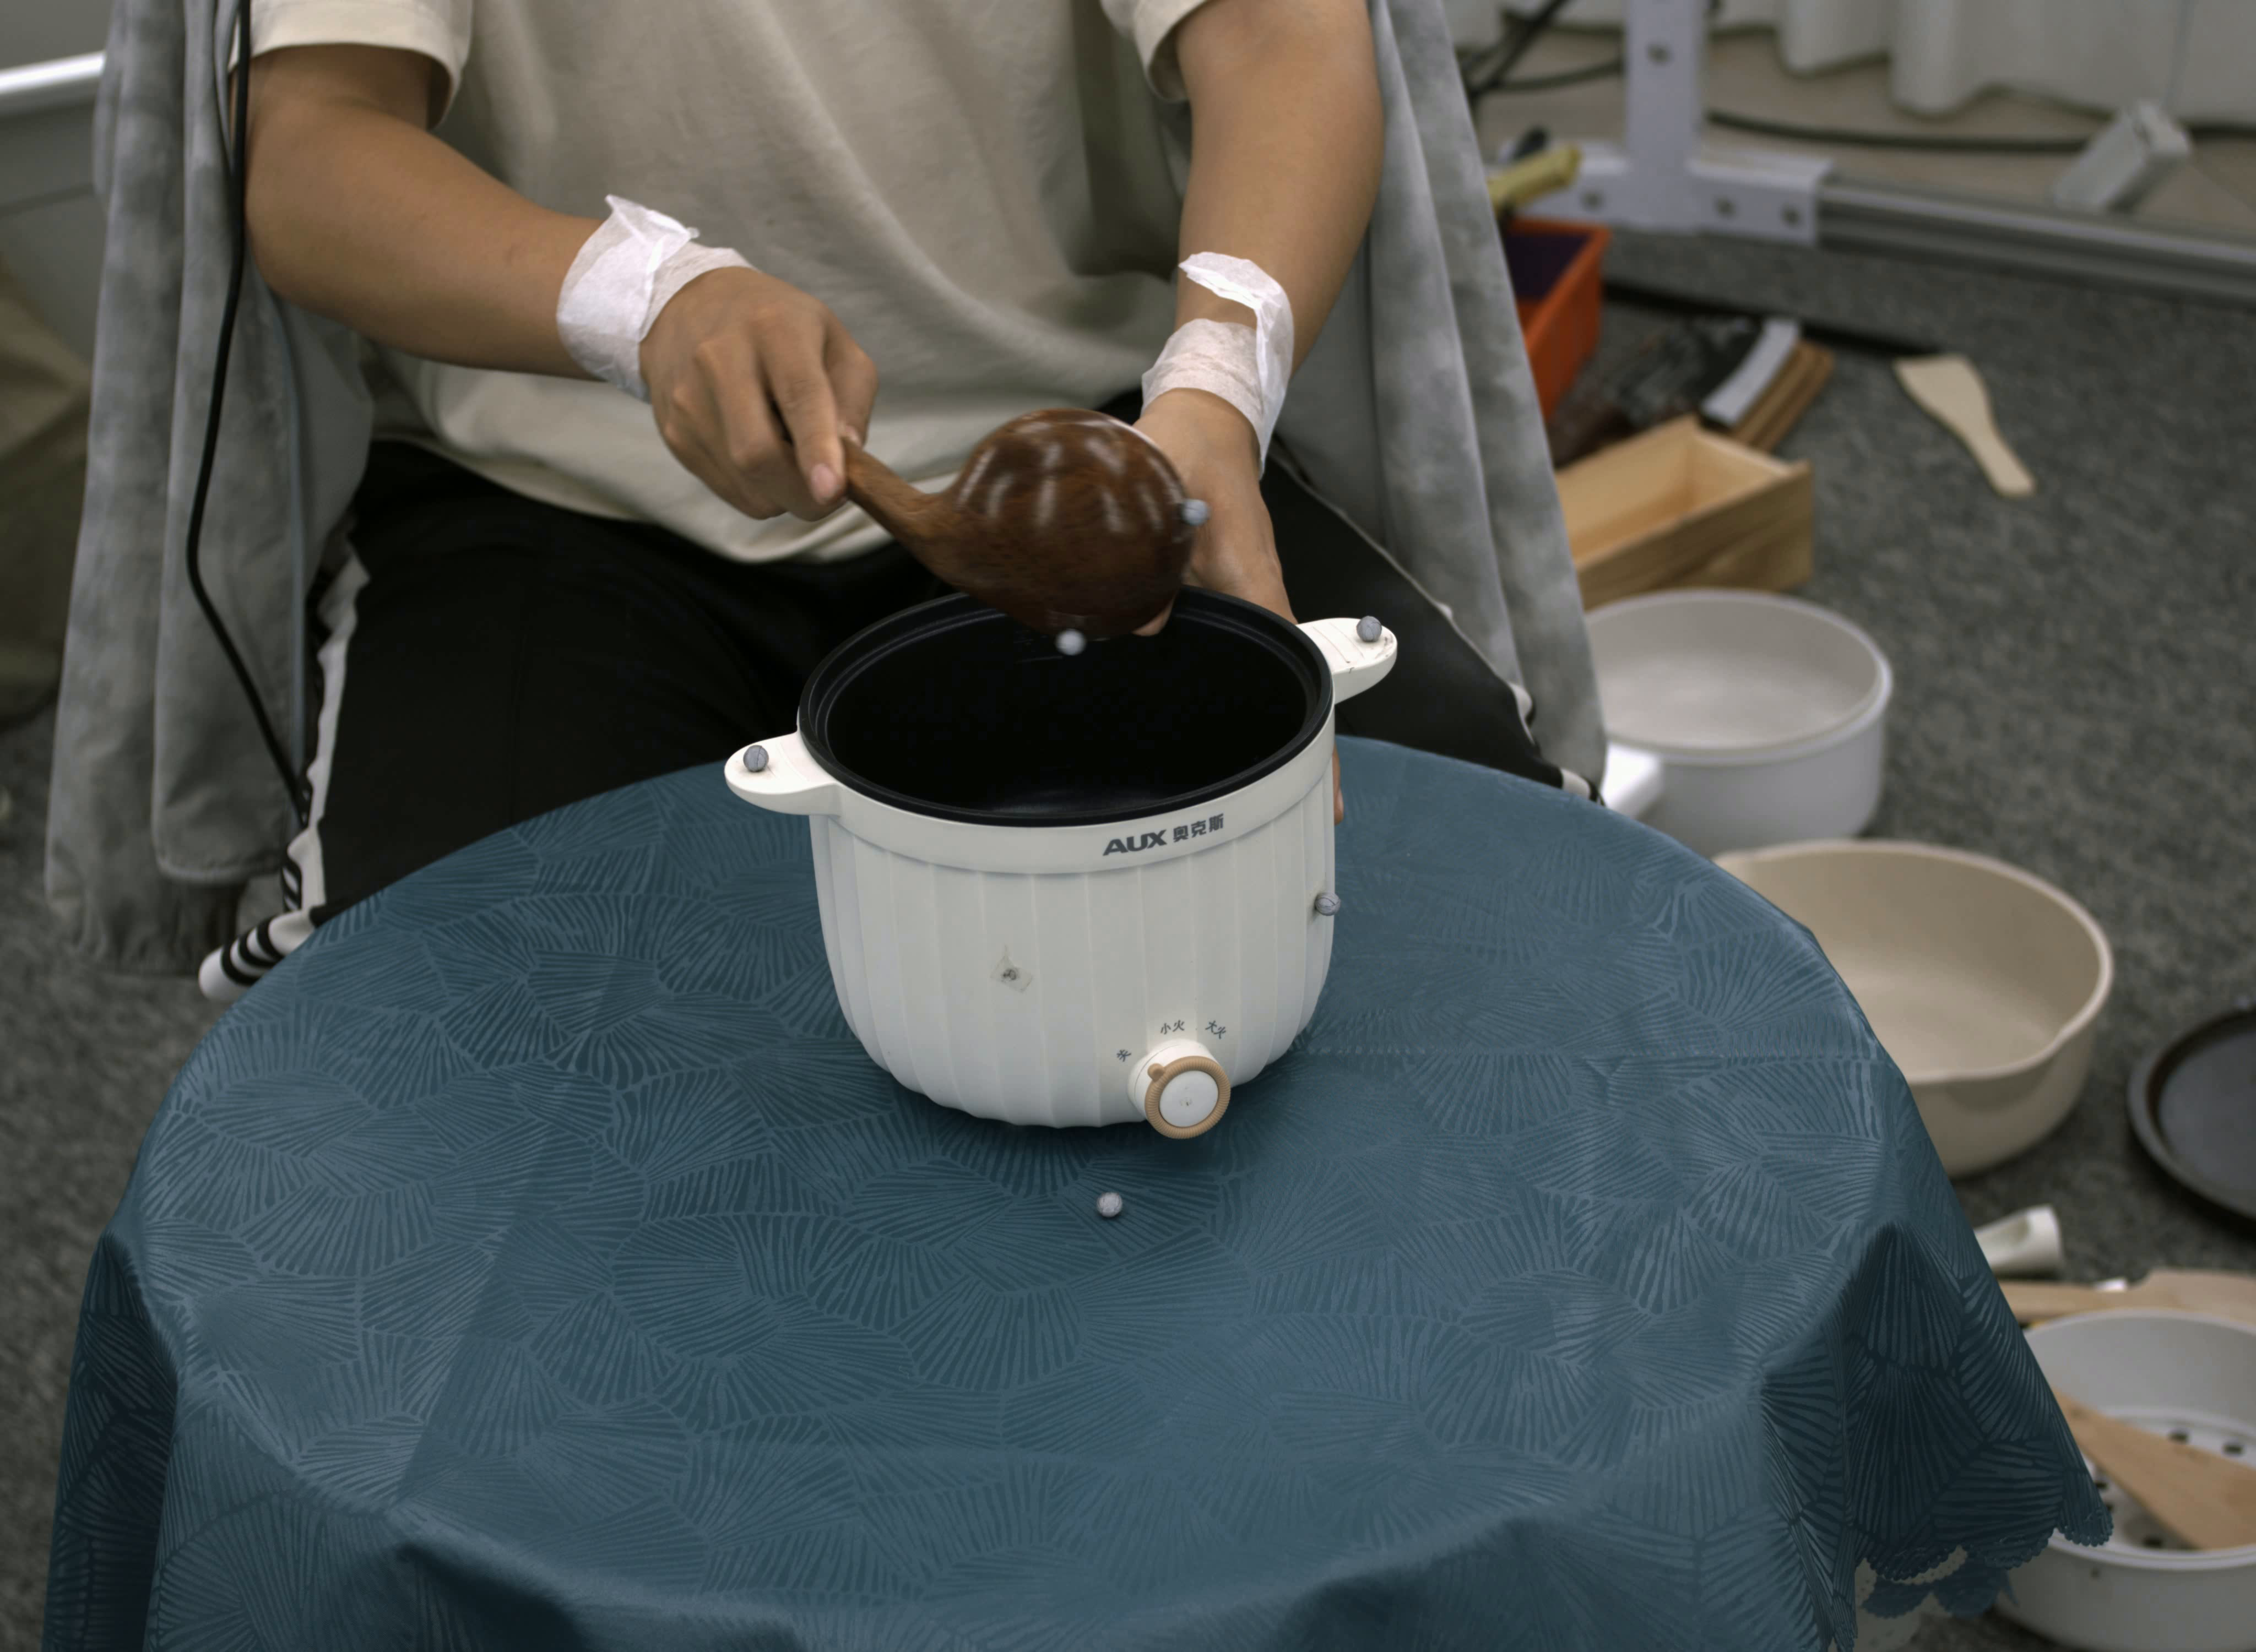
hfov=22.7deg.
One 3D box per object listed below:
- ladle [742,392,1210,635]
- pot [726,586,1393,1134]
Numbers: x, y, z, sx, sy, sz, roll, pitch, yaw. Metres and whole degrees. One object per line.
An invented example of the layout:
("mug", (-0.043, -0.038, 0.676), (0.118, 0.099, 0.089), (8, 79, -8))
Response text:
("ladle", (-0.055, -0.123, 1.927), (0.077, 0.081, 0.274), (-19, 19, -18))
("pot", (-0.014, 0.015, 1.918), (0.241, 0.141, 0.191), (-14, 25, -18))
